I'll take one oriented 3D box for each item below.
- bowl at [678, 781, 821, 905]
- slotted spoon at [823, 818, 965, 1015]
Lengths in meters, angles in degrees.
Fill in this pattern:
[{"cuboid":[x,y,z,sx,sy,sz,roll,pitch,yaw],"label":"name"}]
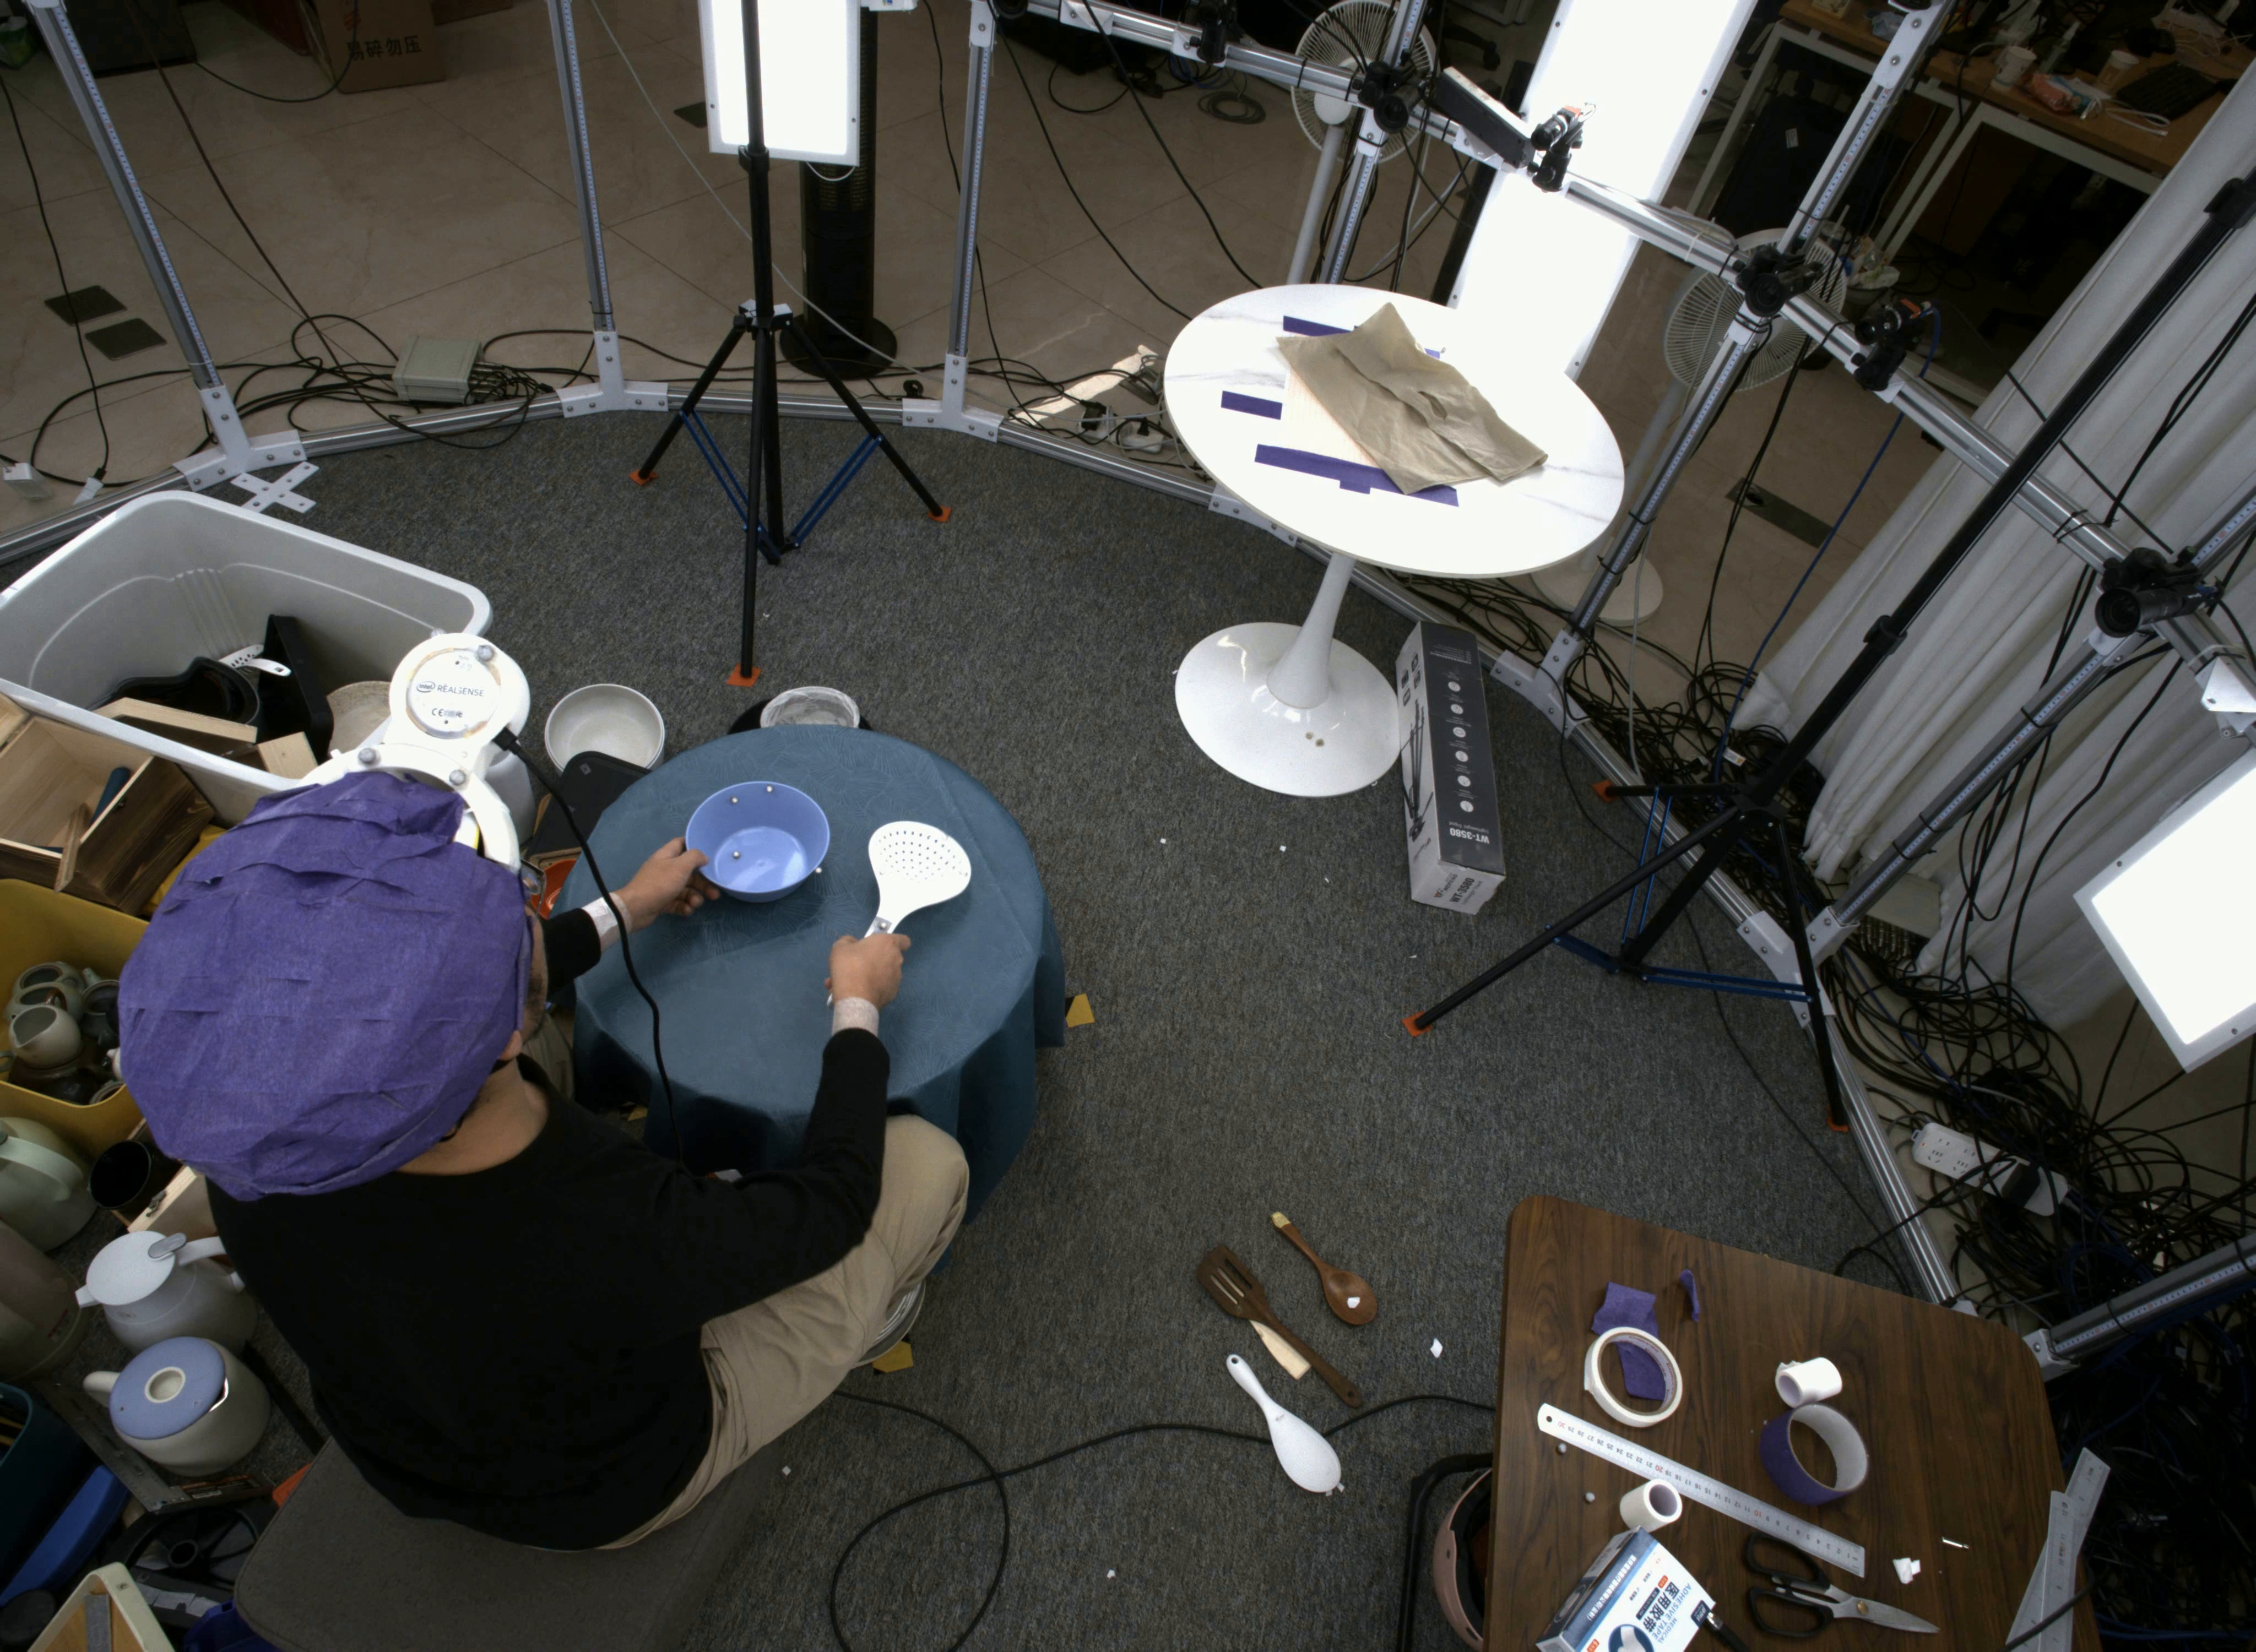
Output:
[{"cuboid":[-0.477,0.031,1.636,0.176,0.071,0.173,7,53,-8],"label":"bowl"},{"cuboid":[-0.298,0.104,1.594,0.136,0.046,0.344,25,33,-6],"label":"slotted spoon"}]
